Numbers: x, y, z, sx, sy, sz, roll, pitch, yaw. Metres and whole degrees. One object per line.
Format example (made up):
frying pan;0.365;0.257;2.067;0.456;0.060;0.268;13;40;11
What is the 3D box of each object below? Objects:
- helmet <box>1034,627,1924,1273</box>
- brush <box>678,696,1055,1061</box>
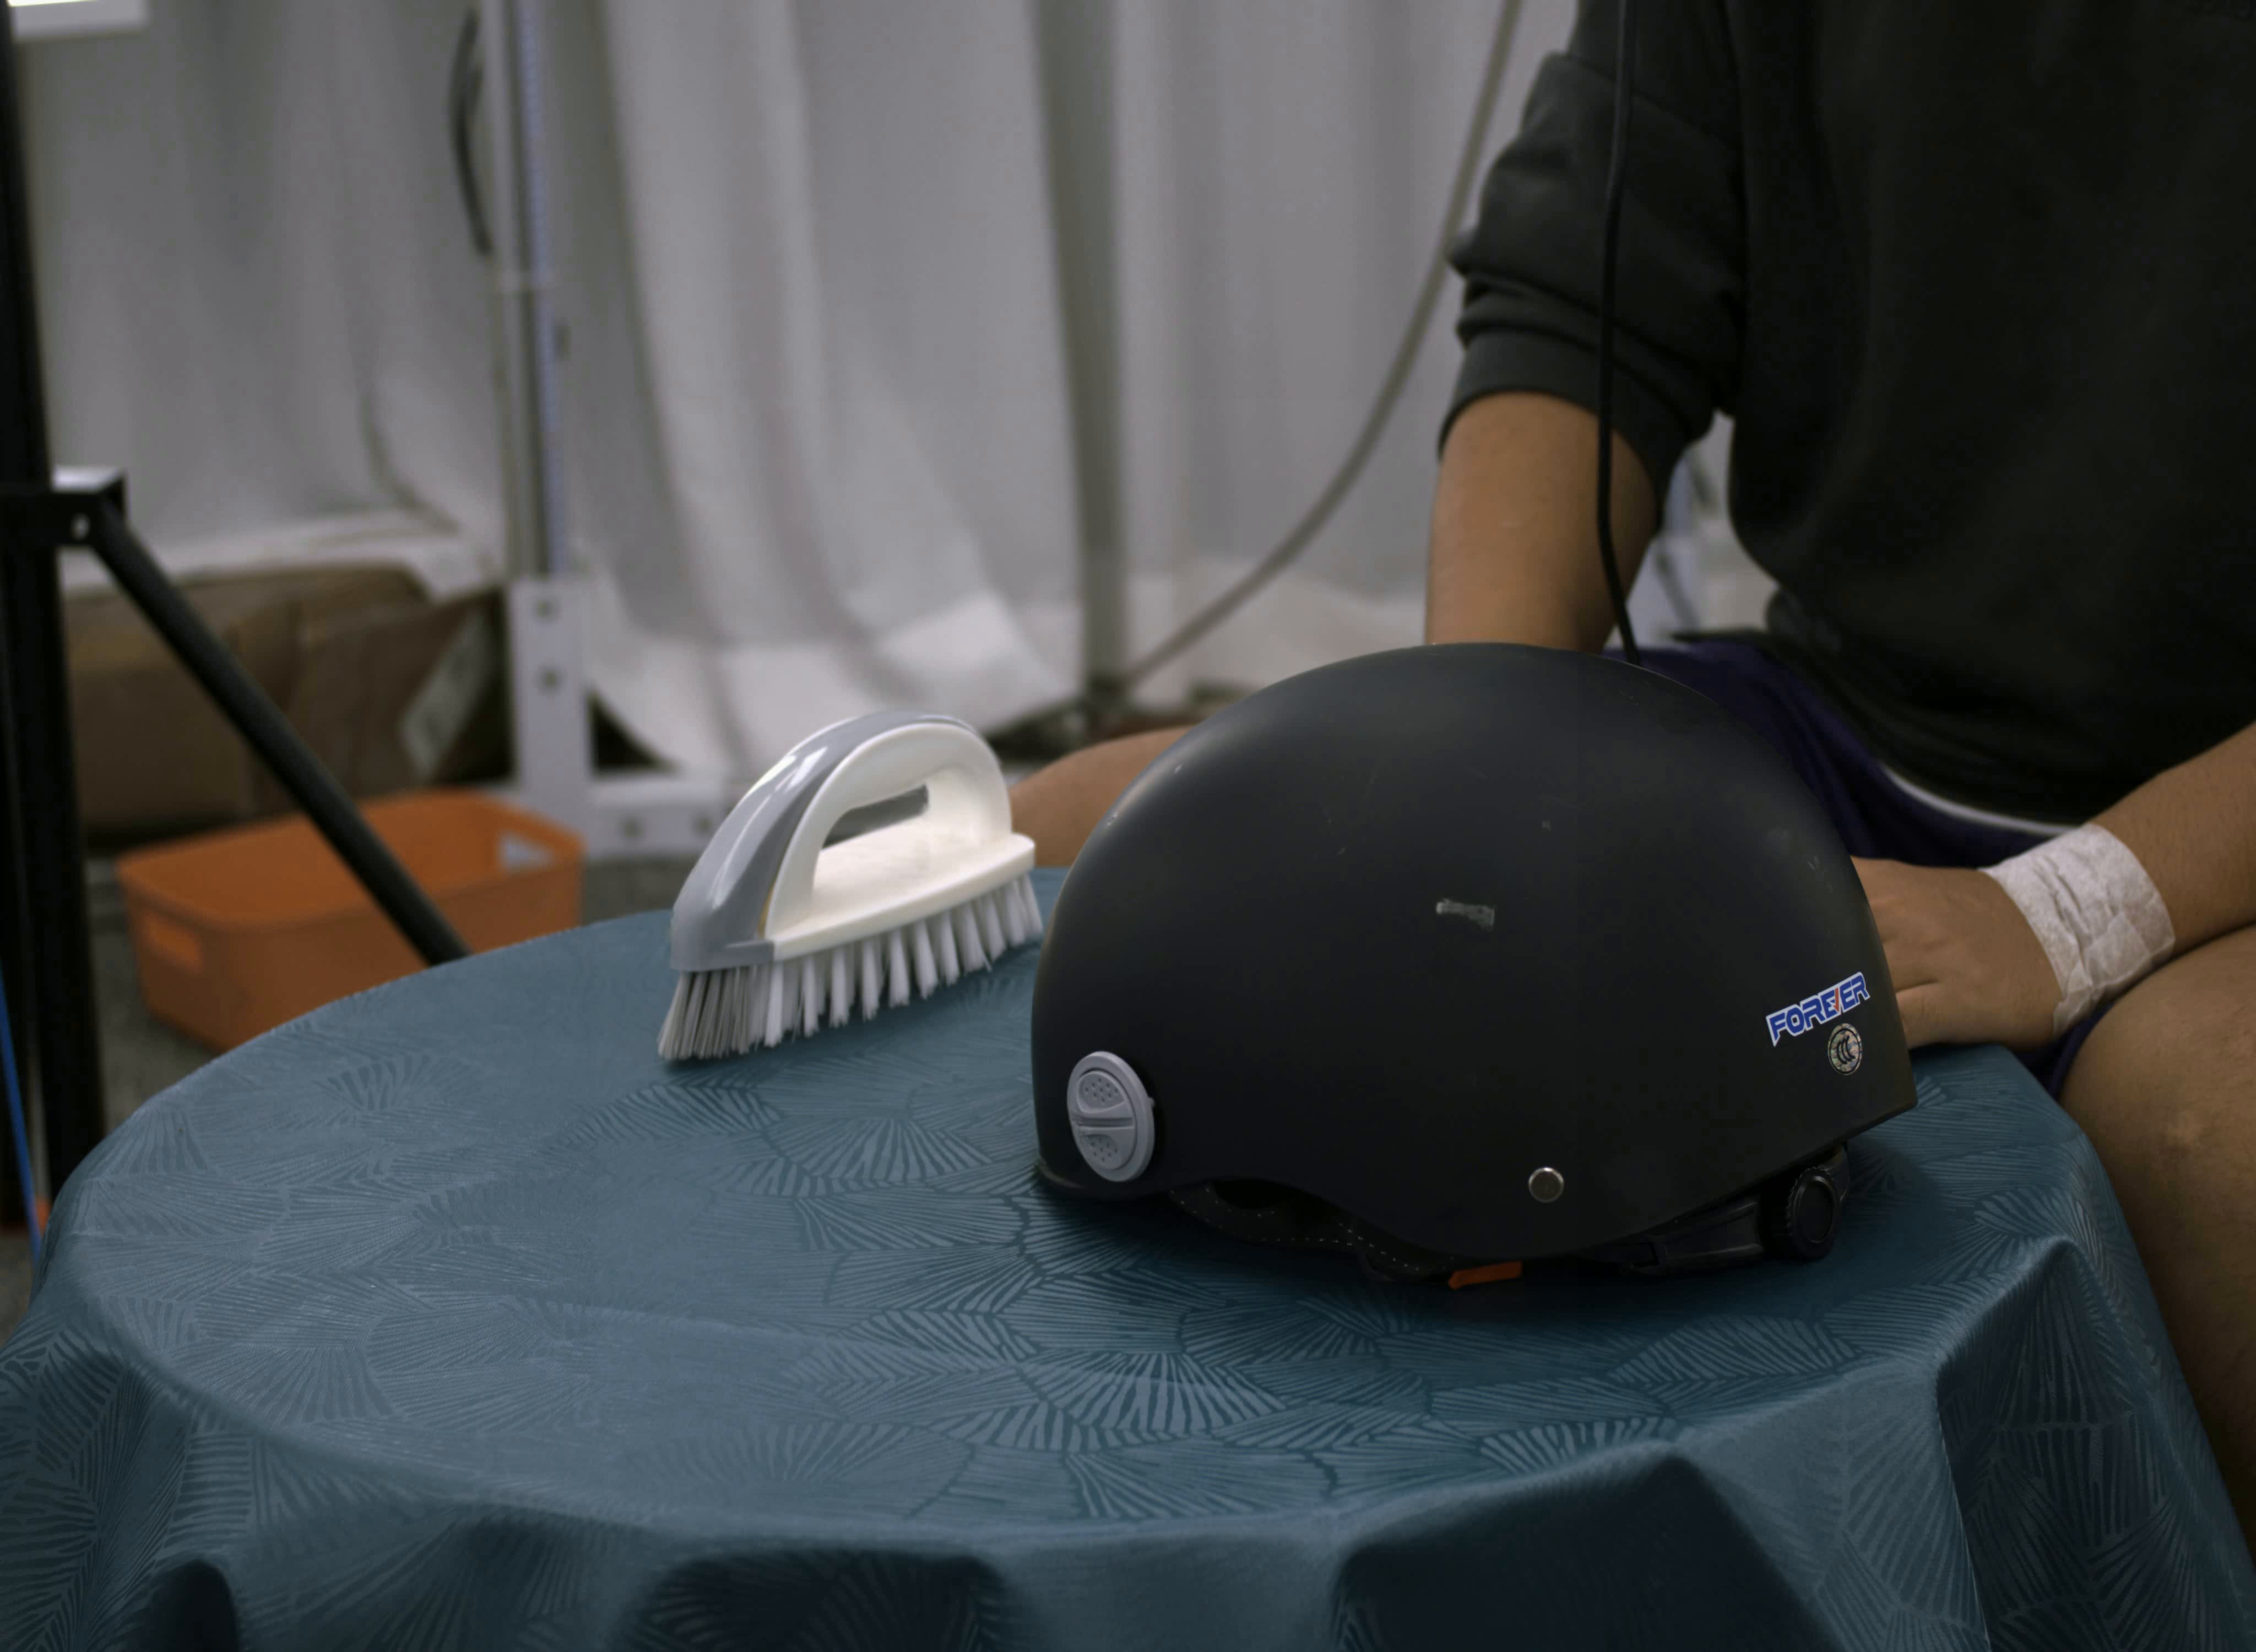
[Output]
helmet;0.095;0.027;1.541;0.279;0.167;0.225;10;19;43
brush;-0.093;0.013;1.746;0.063;0.094;0.172;7;20;35
